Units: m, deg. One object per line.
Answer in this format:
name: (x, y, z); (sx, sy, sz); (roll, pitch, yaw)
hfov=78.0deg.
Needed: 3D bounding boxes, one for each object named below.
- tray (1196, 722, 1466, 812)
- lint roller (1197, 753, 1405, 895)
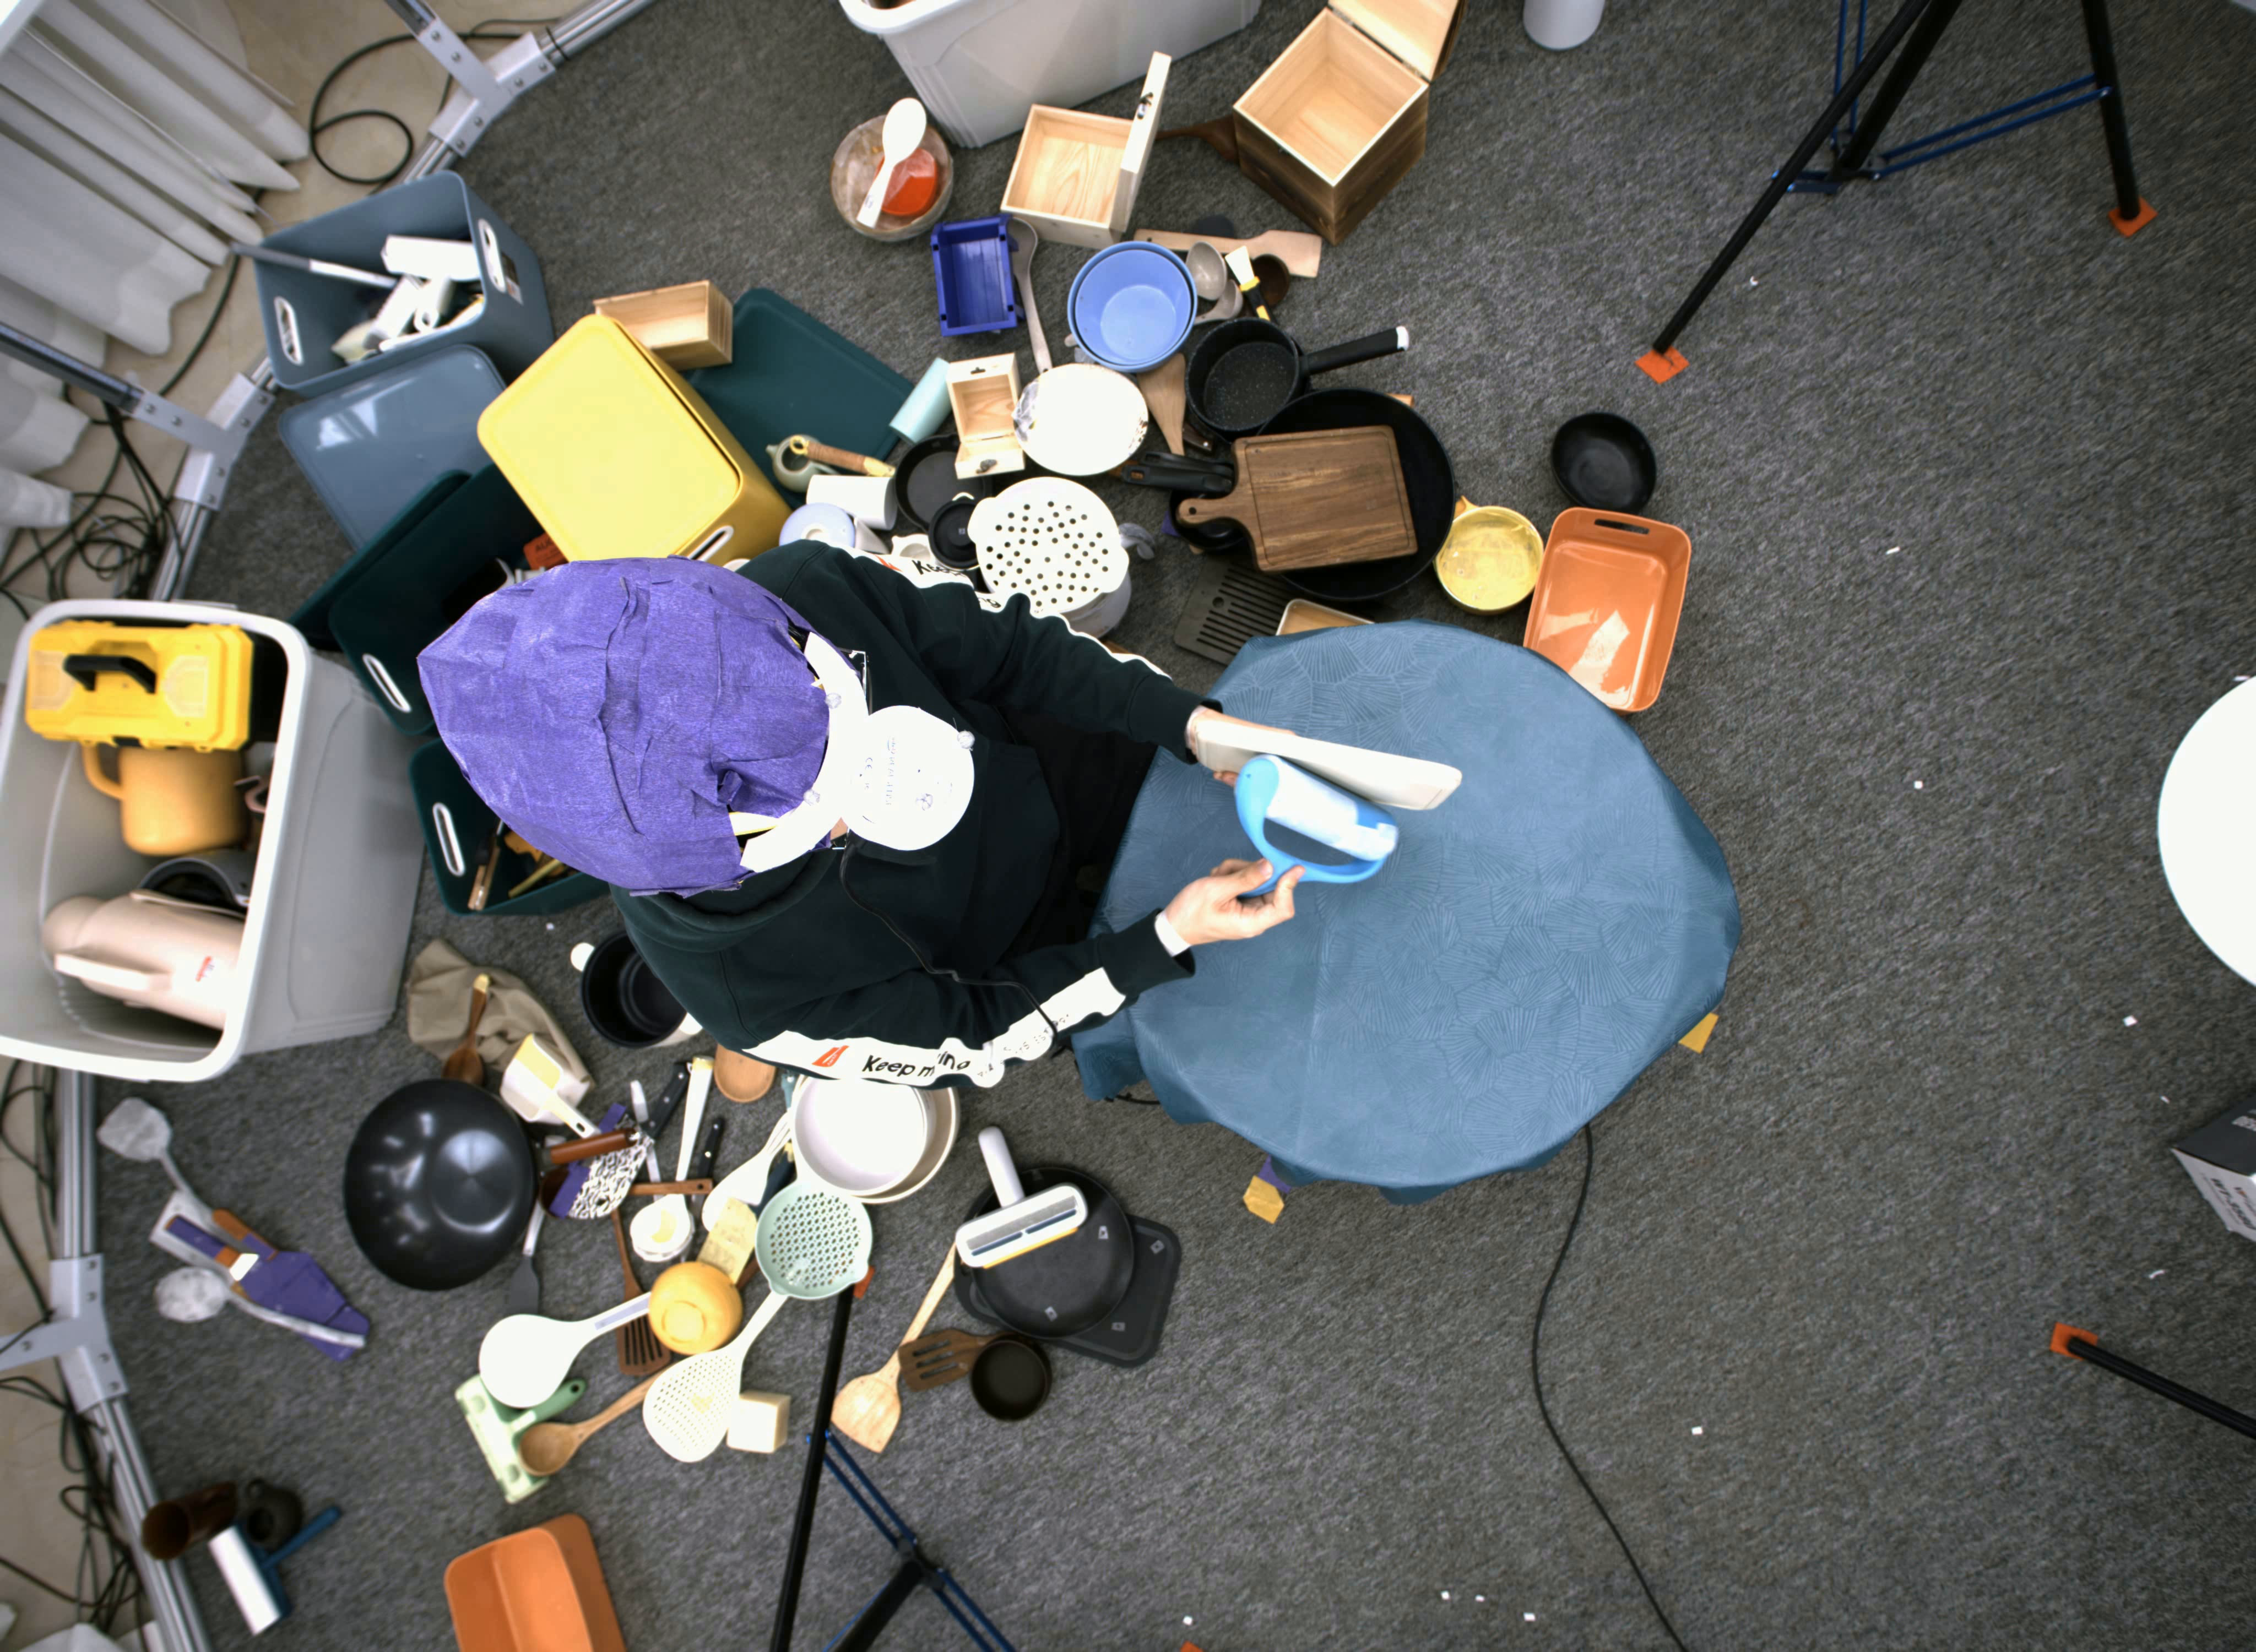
tray: (0.179, -0.051, 1.256); (0.240, 0.172, 0.017); (11, 83, 6)
lint roller: (0.142, 0.023, 1.283); (0.184, 0.229, 0.066); (-44, 53, 27)
